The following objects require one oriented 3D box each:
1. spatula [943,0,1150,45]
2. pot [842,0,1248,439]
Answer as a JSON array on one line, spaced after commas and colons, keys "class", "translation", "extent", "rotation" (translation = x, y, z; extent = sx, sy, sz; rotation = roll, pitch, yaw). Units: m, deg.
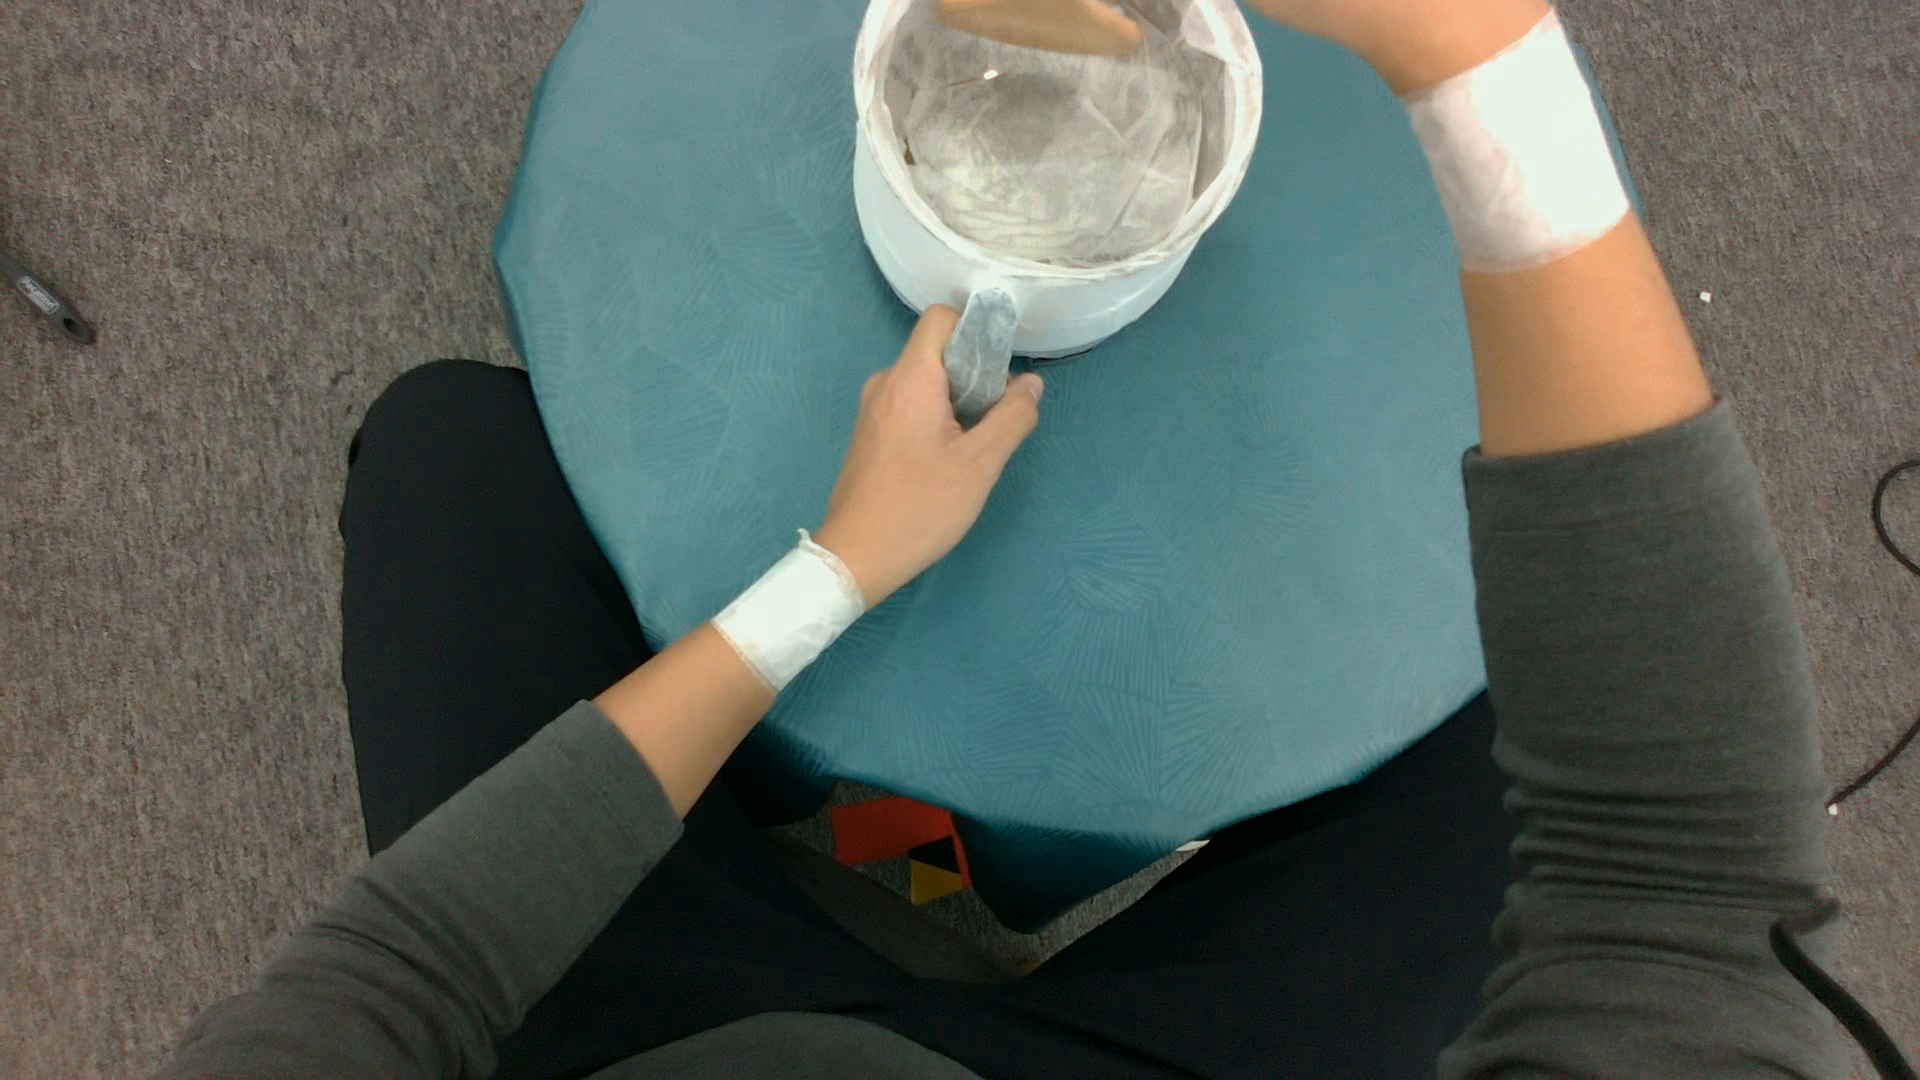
[{"class": "spatula", "translation": [0.046, -0.223, 0.476], "extent": [0.096, 0.391, 0.018], "rotation": [8, 95, -3]}, {"class": "pot", "translation": [0.025, -0.166, 0.654], "extent": [0.179, 0.136, 0.234], "rotation": [16, 80, -3]}]
